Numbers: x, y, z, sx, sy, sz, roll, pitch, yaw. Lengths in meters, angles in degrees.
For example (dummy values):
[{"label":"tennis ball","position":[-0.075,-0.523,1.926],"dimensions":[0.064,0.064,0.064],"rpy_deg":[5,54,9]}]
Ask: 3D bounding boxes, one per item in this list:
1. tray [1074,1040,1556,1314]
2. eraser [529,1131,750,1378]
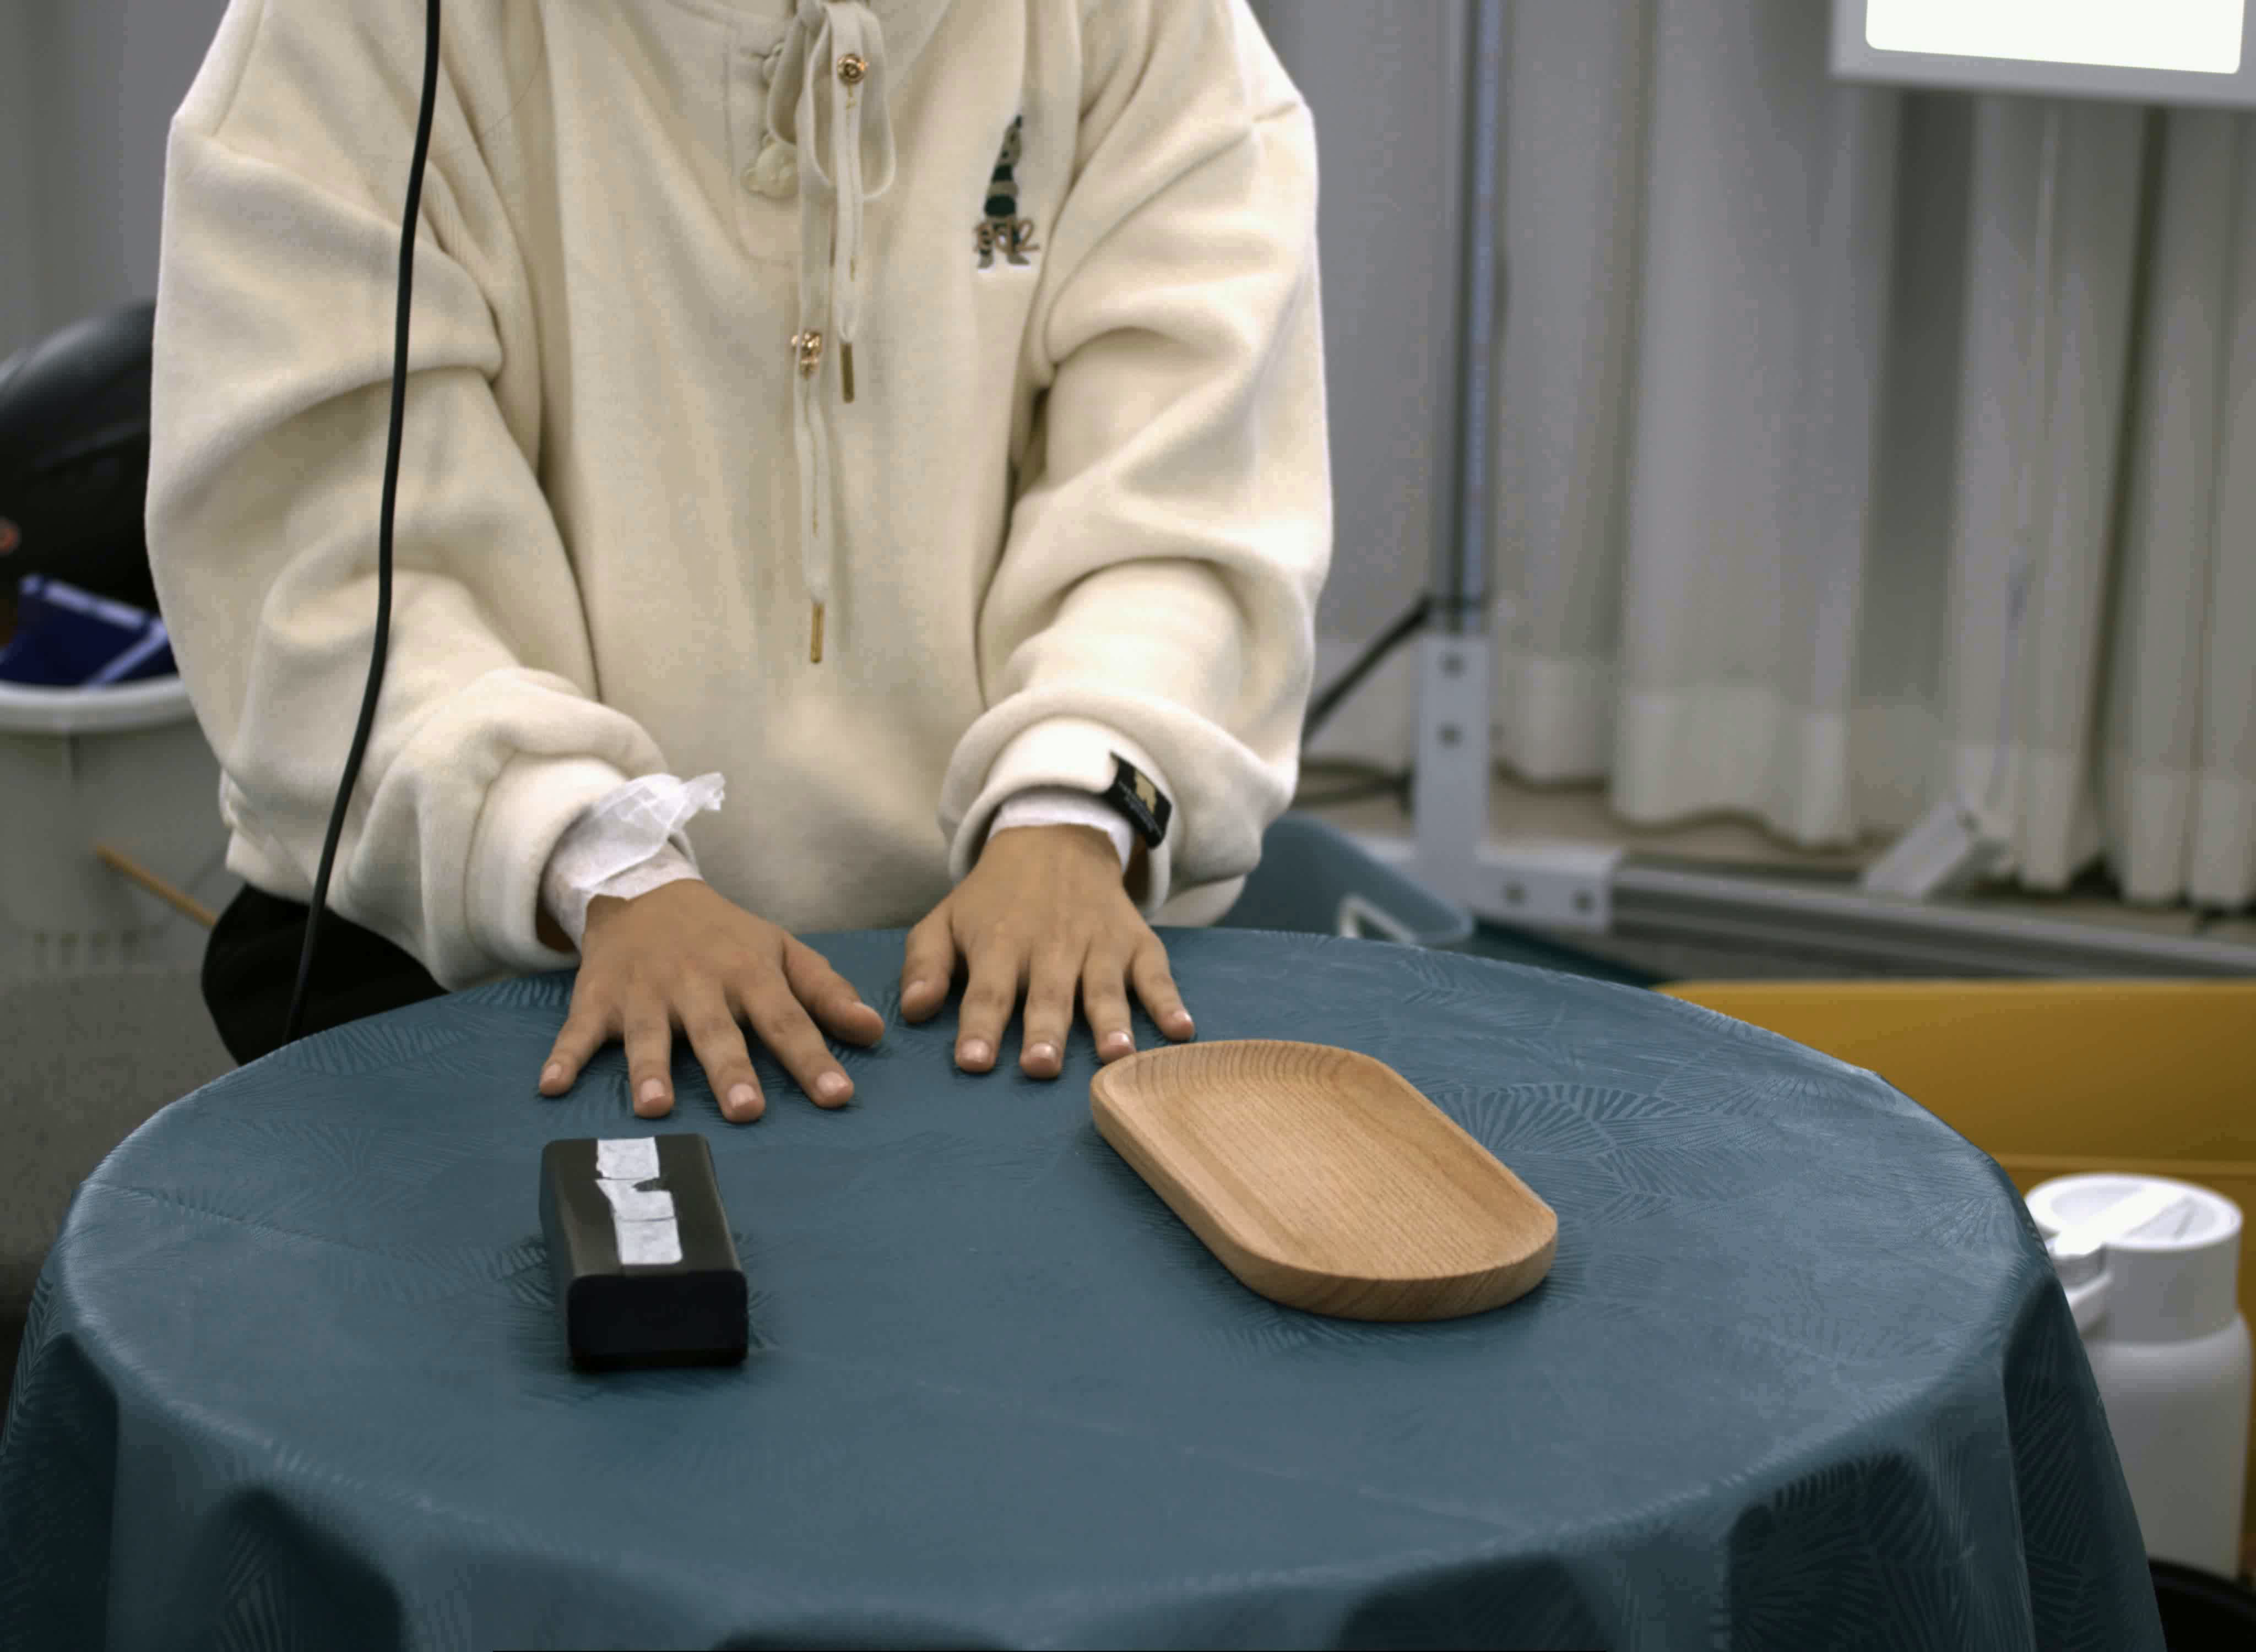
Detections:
[{"label":"tray","position":[0.055,0.105,1.618],"dimensions":[0.102,0.020,0.229],"rpy_deg":[-4,14,-19]},{"label":"eraser","position":[-0.142,0.123,1.522],"dimensions":[0.053,0.030,0.124],"rpy_deg":[4,16,-12]}]
